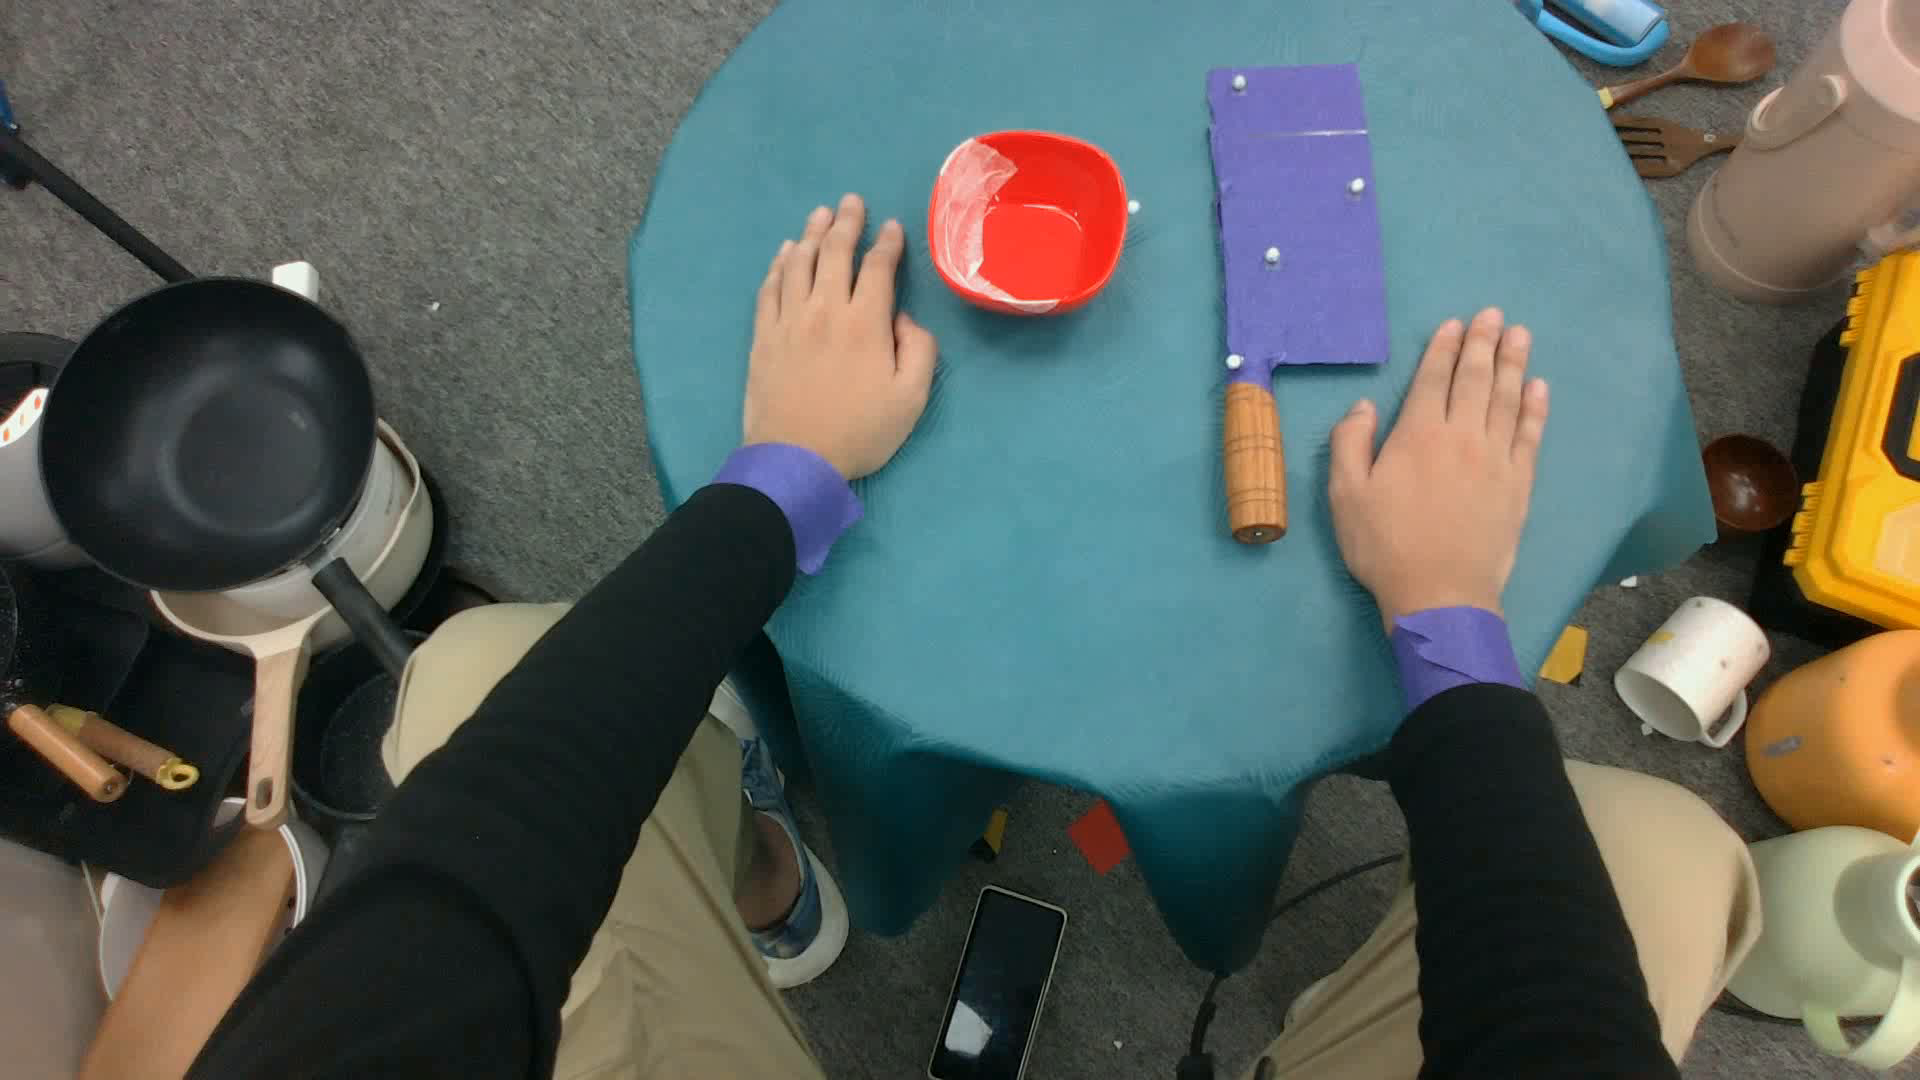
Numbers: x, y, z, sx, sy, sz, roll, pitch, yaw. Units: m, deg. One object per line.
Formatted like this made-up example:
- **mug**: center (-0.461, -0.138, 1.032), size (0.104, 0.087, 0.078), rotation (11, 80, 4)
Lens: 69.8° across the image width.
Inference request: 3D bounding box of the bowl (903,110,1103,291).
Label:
- **bowl**: center (0.024, -0.183, 0.781), size (0.119, 0.051, 0.119), rotation (0, 68, 0)

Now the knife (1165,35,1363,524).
- **knife**: center (0.180, -0.161, 0.786), size (0.104, 0.032, 0.316), rotation (-2, 70, 1)
